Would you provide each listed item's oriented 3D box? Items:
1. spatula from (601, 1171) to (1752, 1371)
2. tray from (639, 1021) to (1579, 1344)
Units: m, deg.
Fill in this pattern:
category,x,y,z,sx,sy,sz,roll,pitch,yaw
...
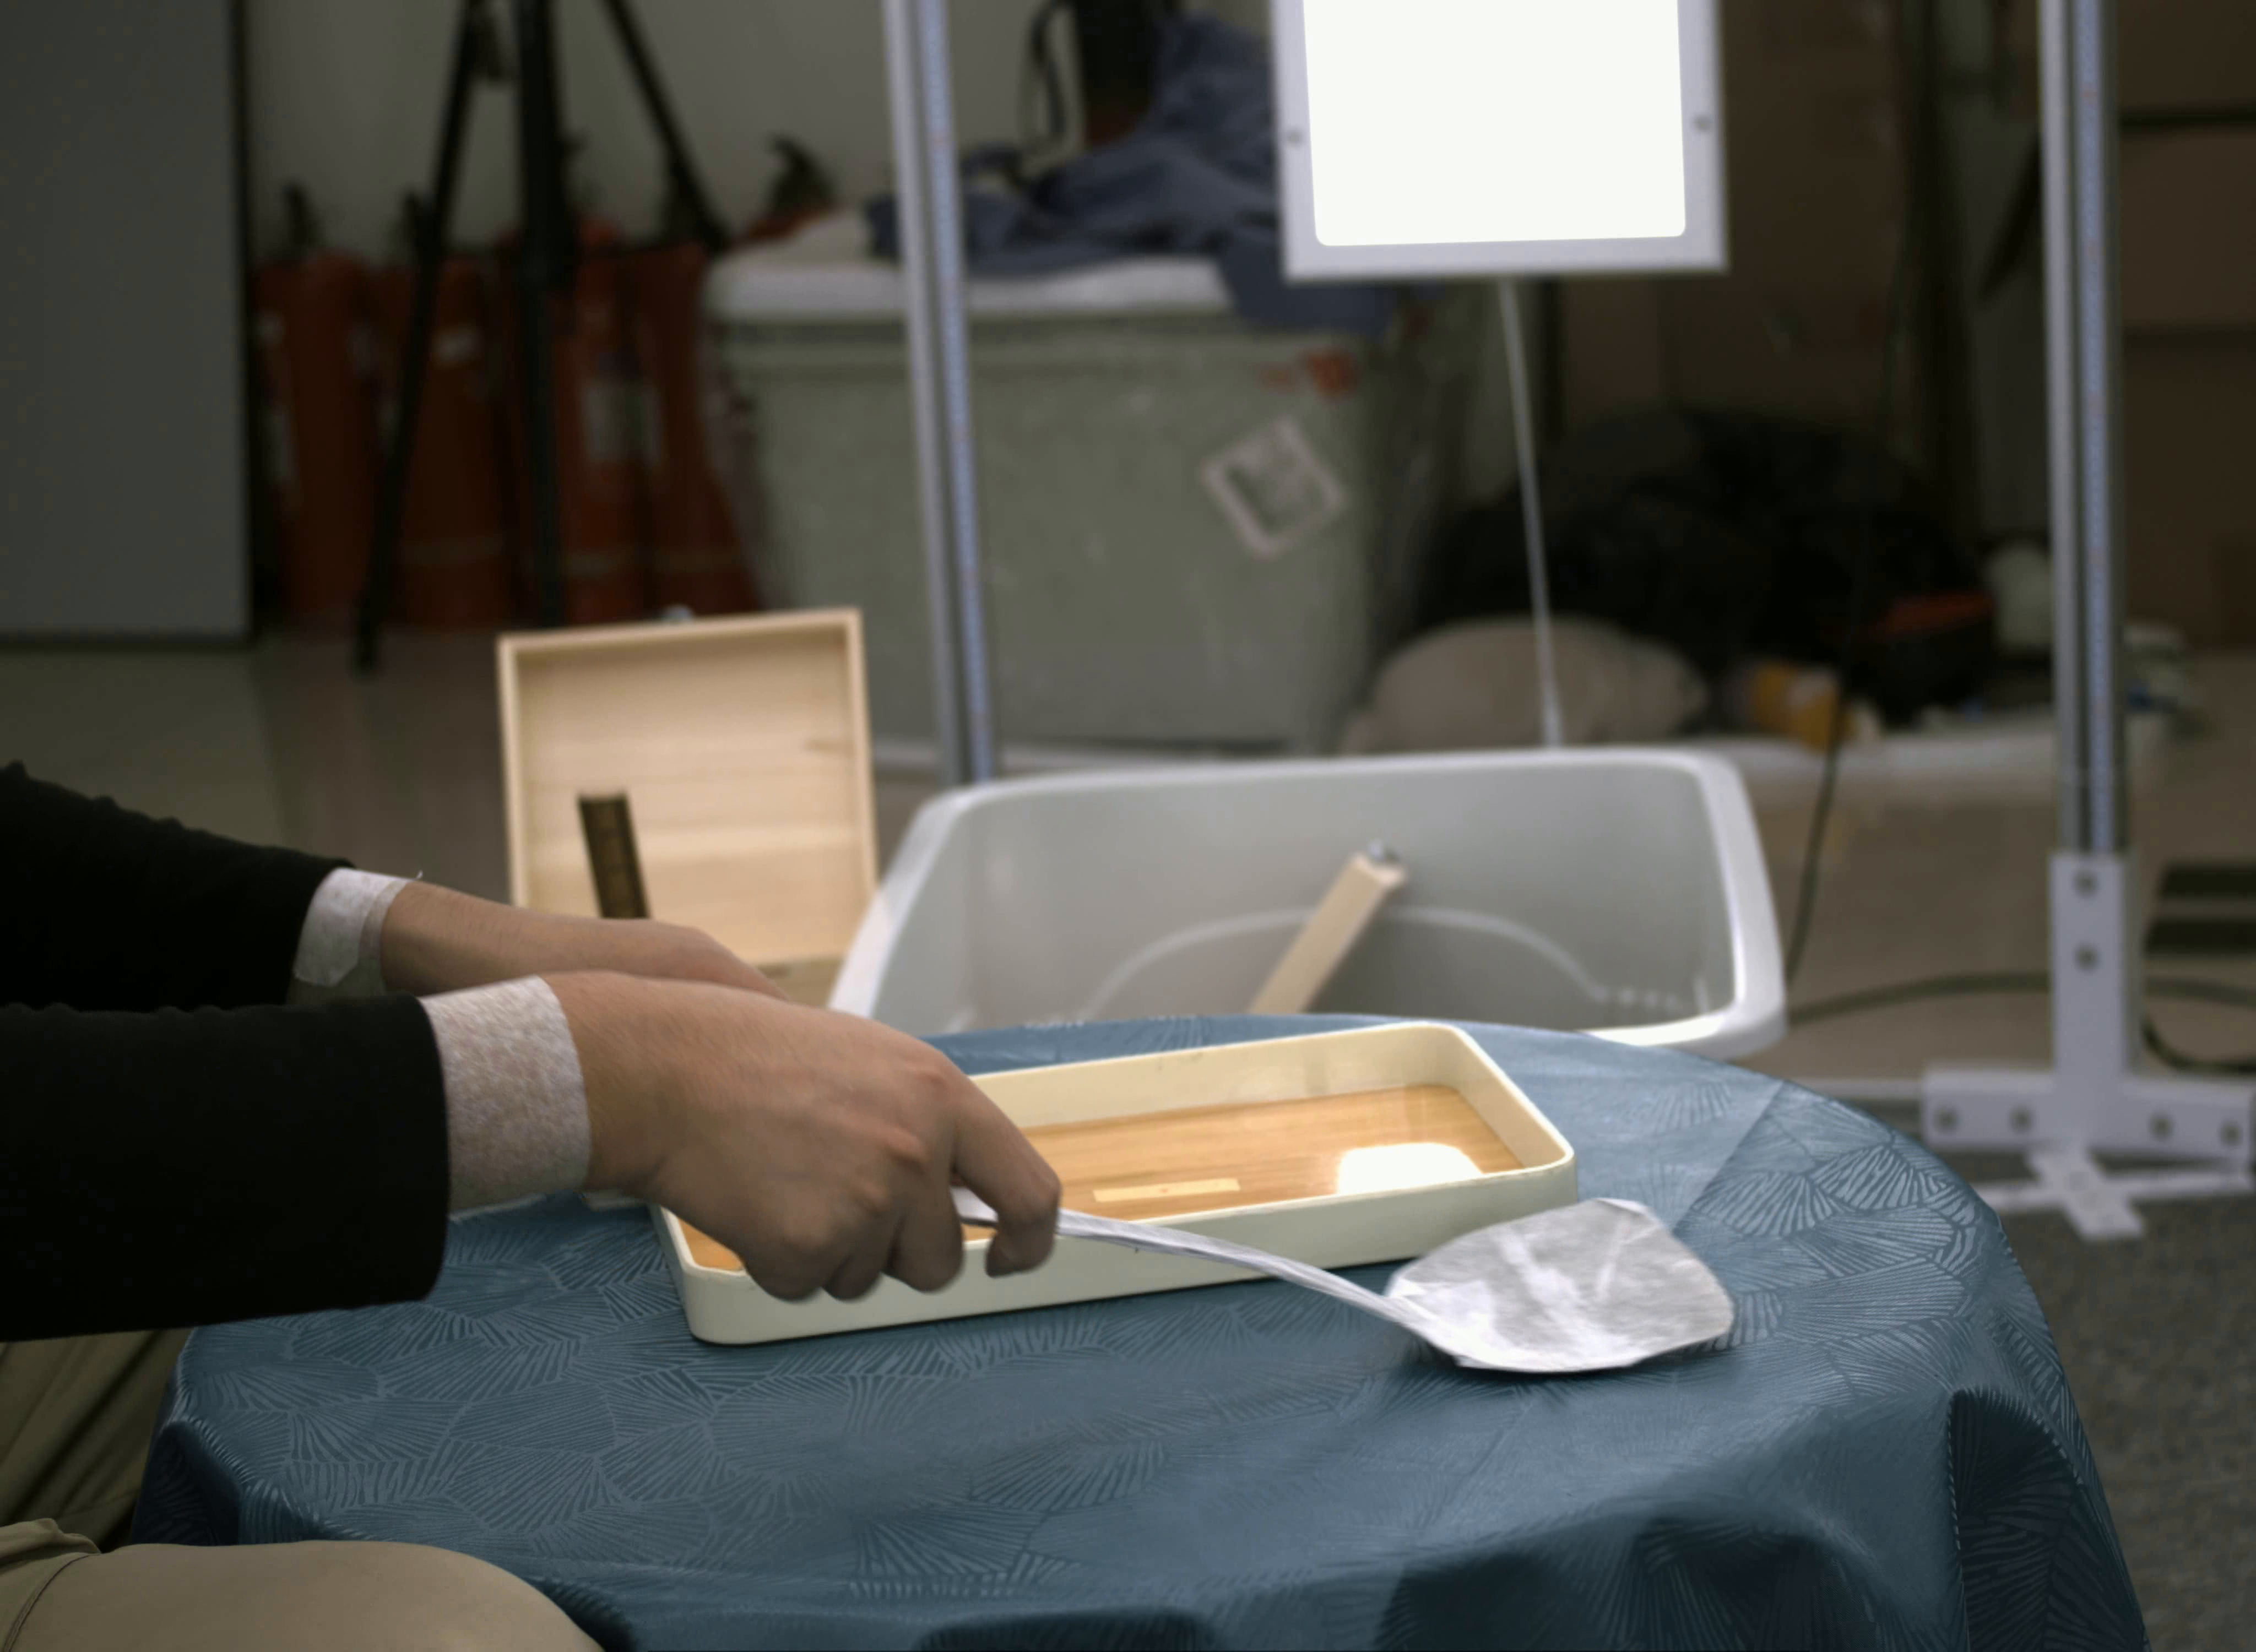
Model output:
category,x,y,z,sx,sy,sz,roll,pitch,yaw
spatula,0.019,0.124,1.671,0.358,0.045,0.099,11,19,-21
tray,-0.011,0.119,1.876,0.298,0.027,0.192,-7,14,-7
